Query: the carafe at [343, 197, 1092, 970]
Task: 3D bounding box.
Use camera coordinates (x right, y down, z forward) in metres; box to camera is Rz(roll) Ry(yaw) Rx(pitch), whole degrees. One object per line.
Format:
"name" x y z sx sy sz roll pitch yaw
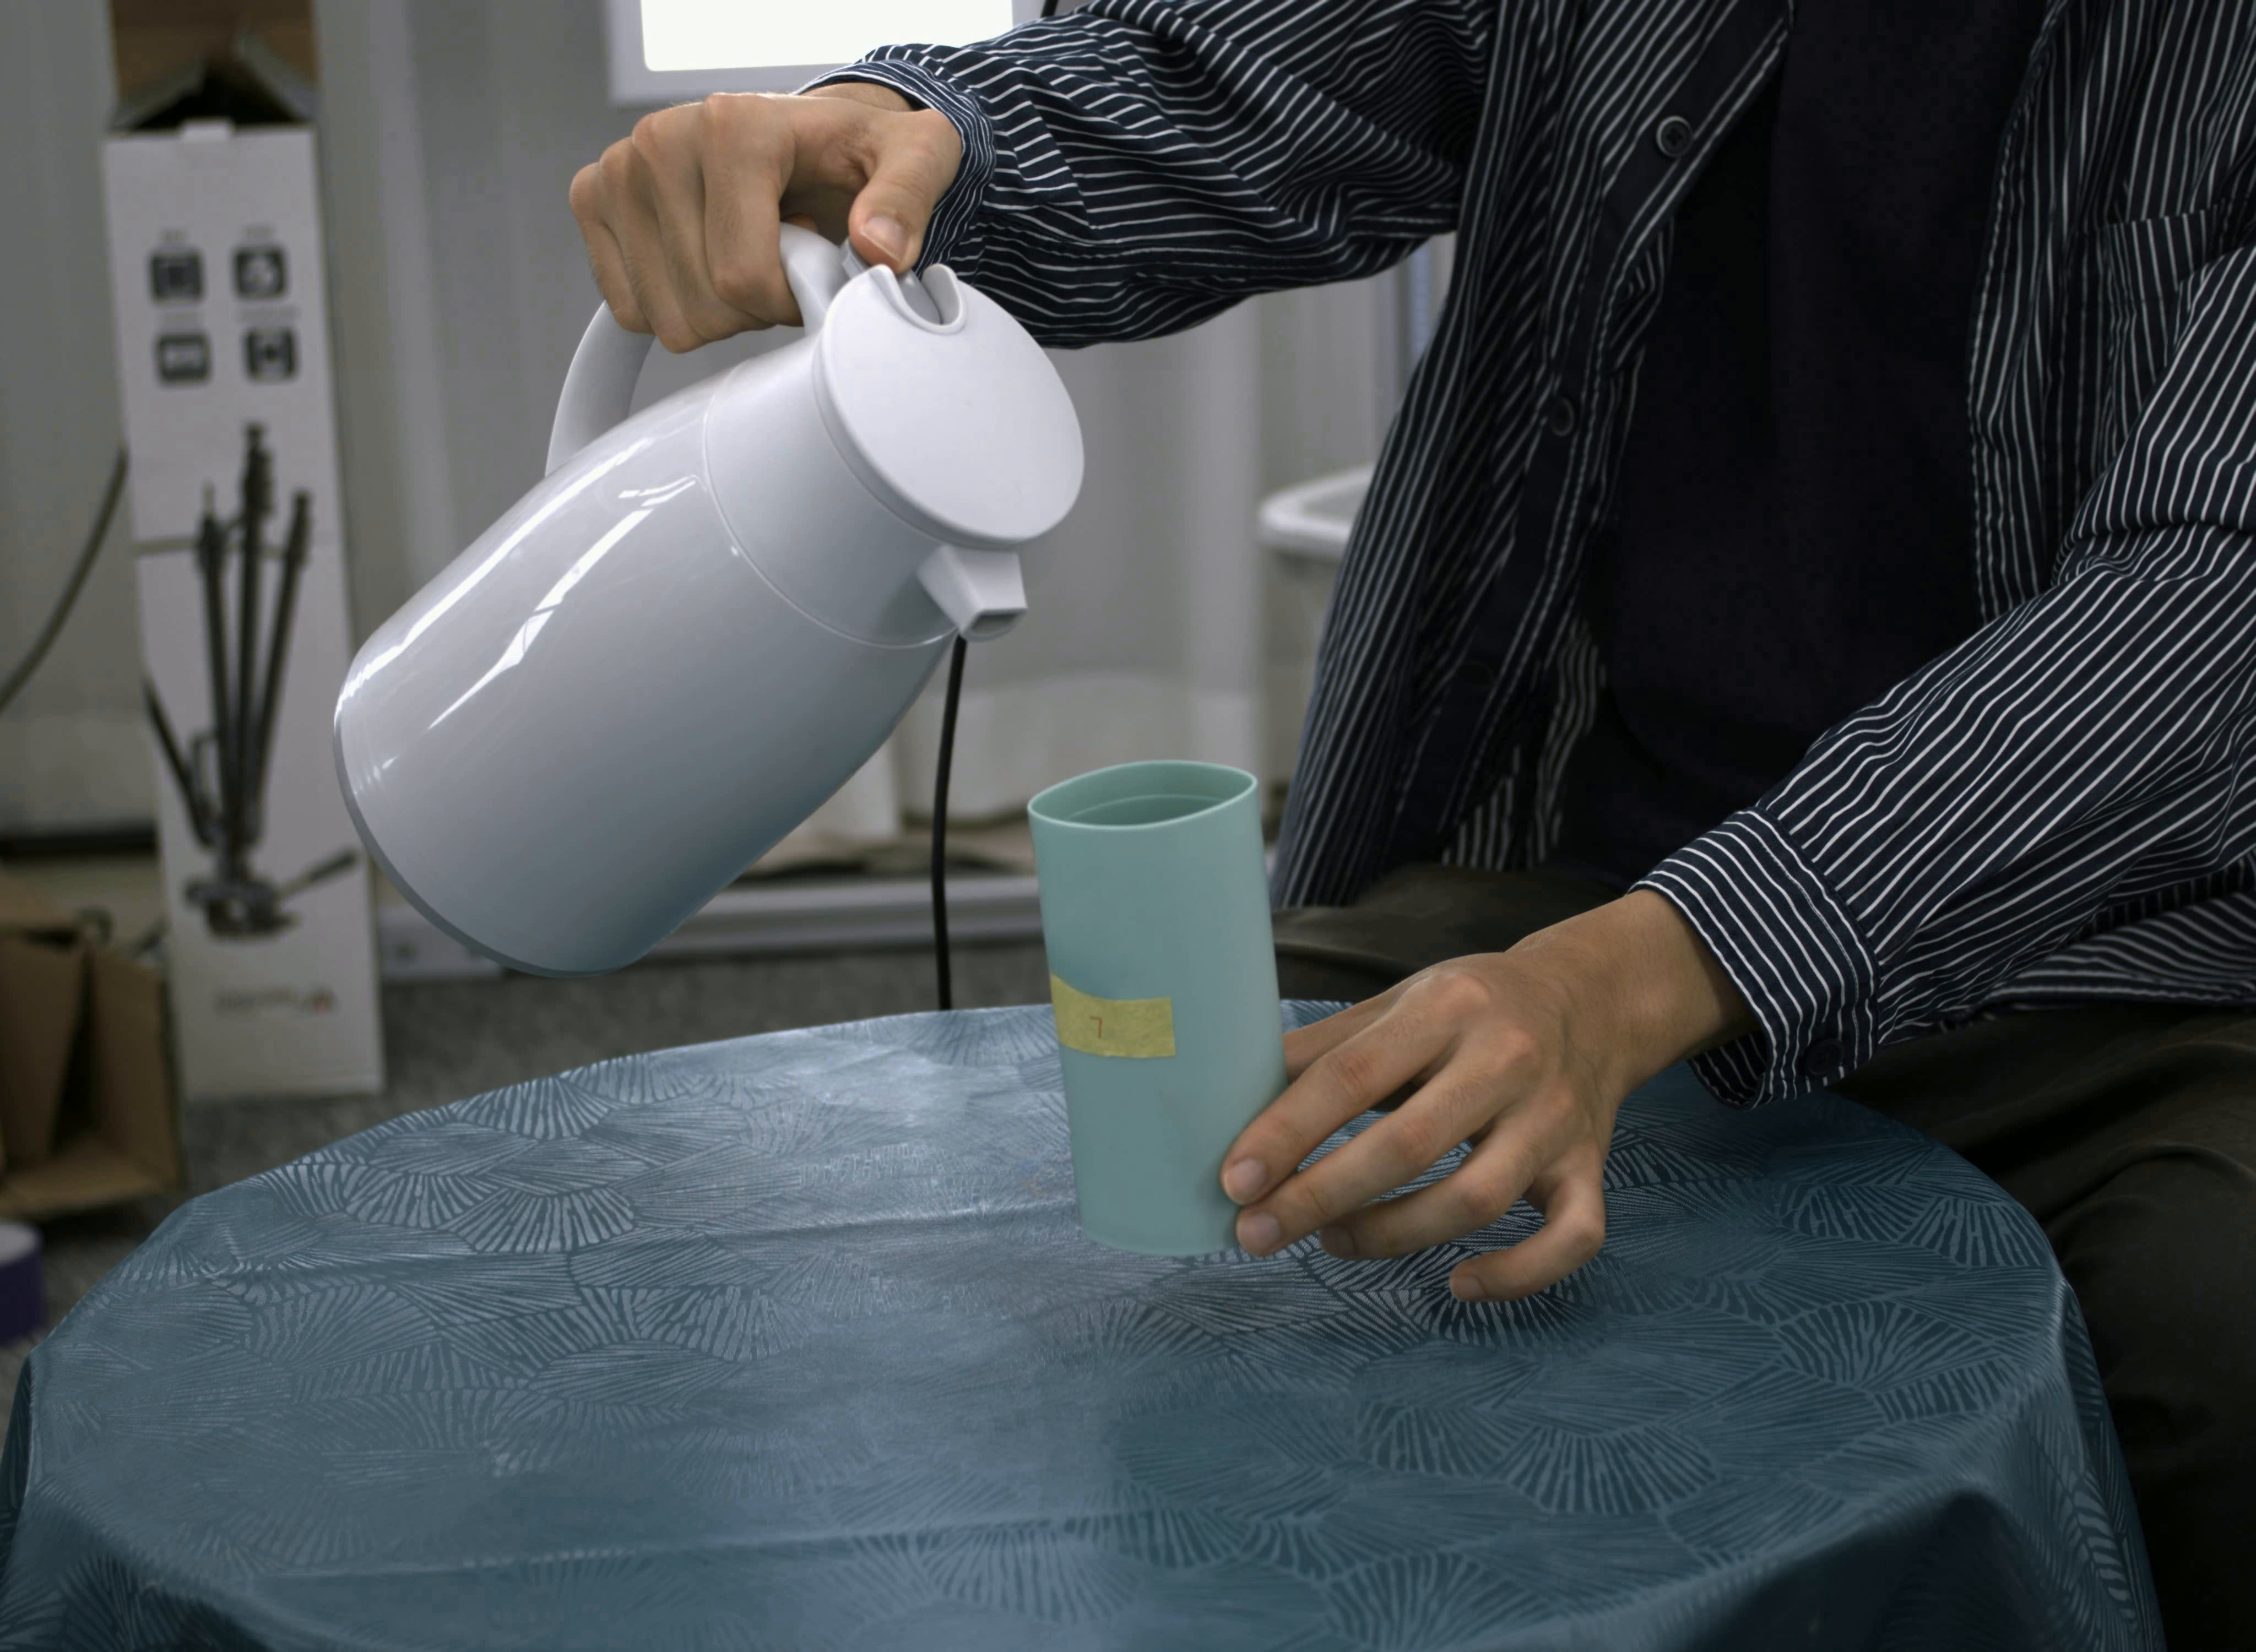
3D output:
"carafe" -0.124 -0.087 1.640 0.132 0.169 0.247 -8 -24 -45

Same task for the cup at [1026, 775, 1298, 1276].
"cup" 0.012 0.056 1.580 0.066 0.132 0.067 -6 14 1
